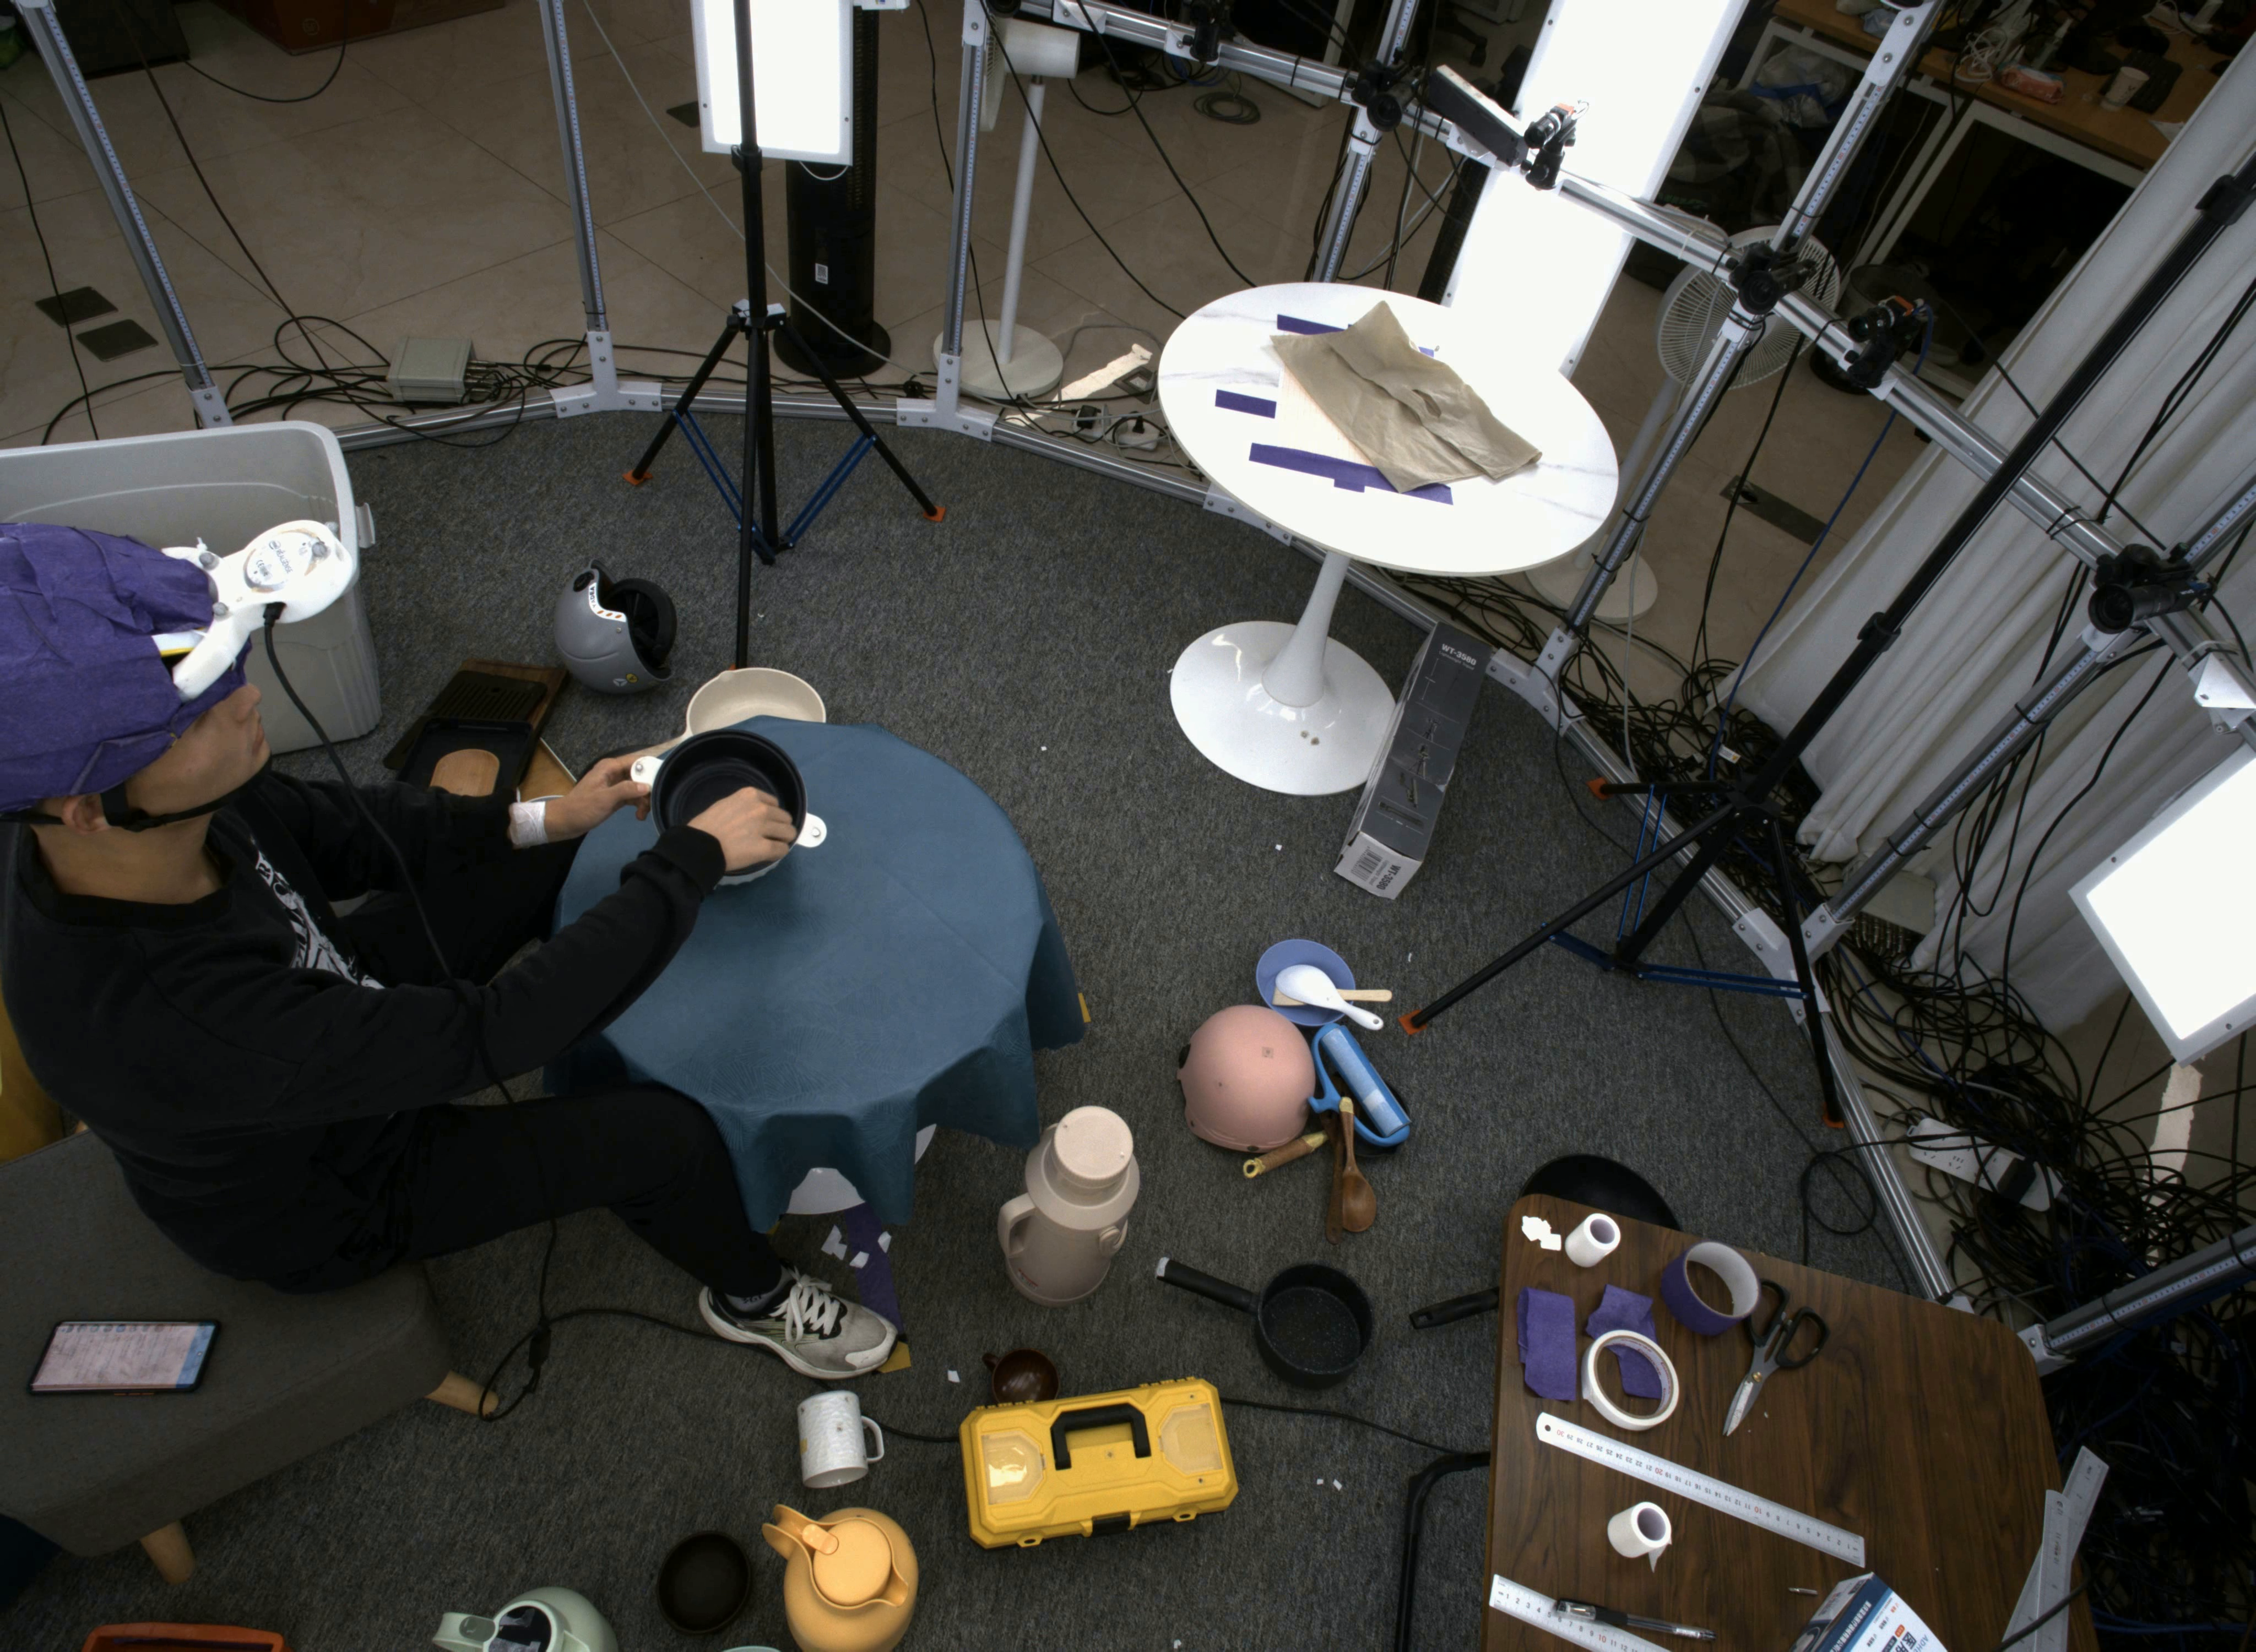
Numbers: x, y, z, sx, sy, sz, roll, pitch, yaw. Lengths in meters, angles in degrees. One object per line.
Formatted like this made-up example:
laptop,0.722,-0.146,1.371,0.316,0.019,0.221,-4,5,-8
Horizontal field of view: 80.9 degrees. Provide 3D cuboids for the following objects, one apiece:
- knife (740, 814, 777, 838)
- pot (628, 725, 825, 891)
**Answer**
knife,-0.424,-0.001,1.505,0.017,0.224,0.026,-28,91,-7
pot,-0.497,-0.025,1.594,0.243,0.140,0.191,20,77,-18
